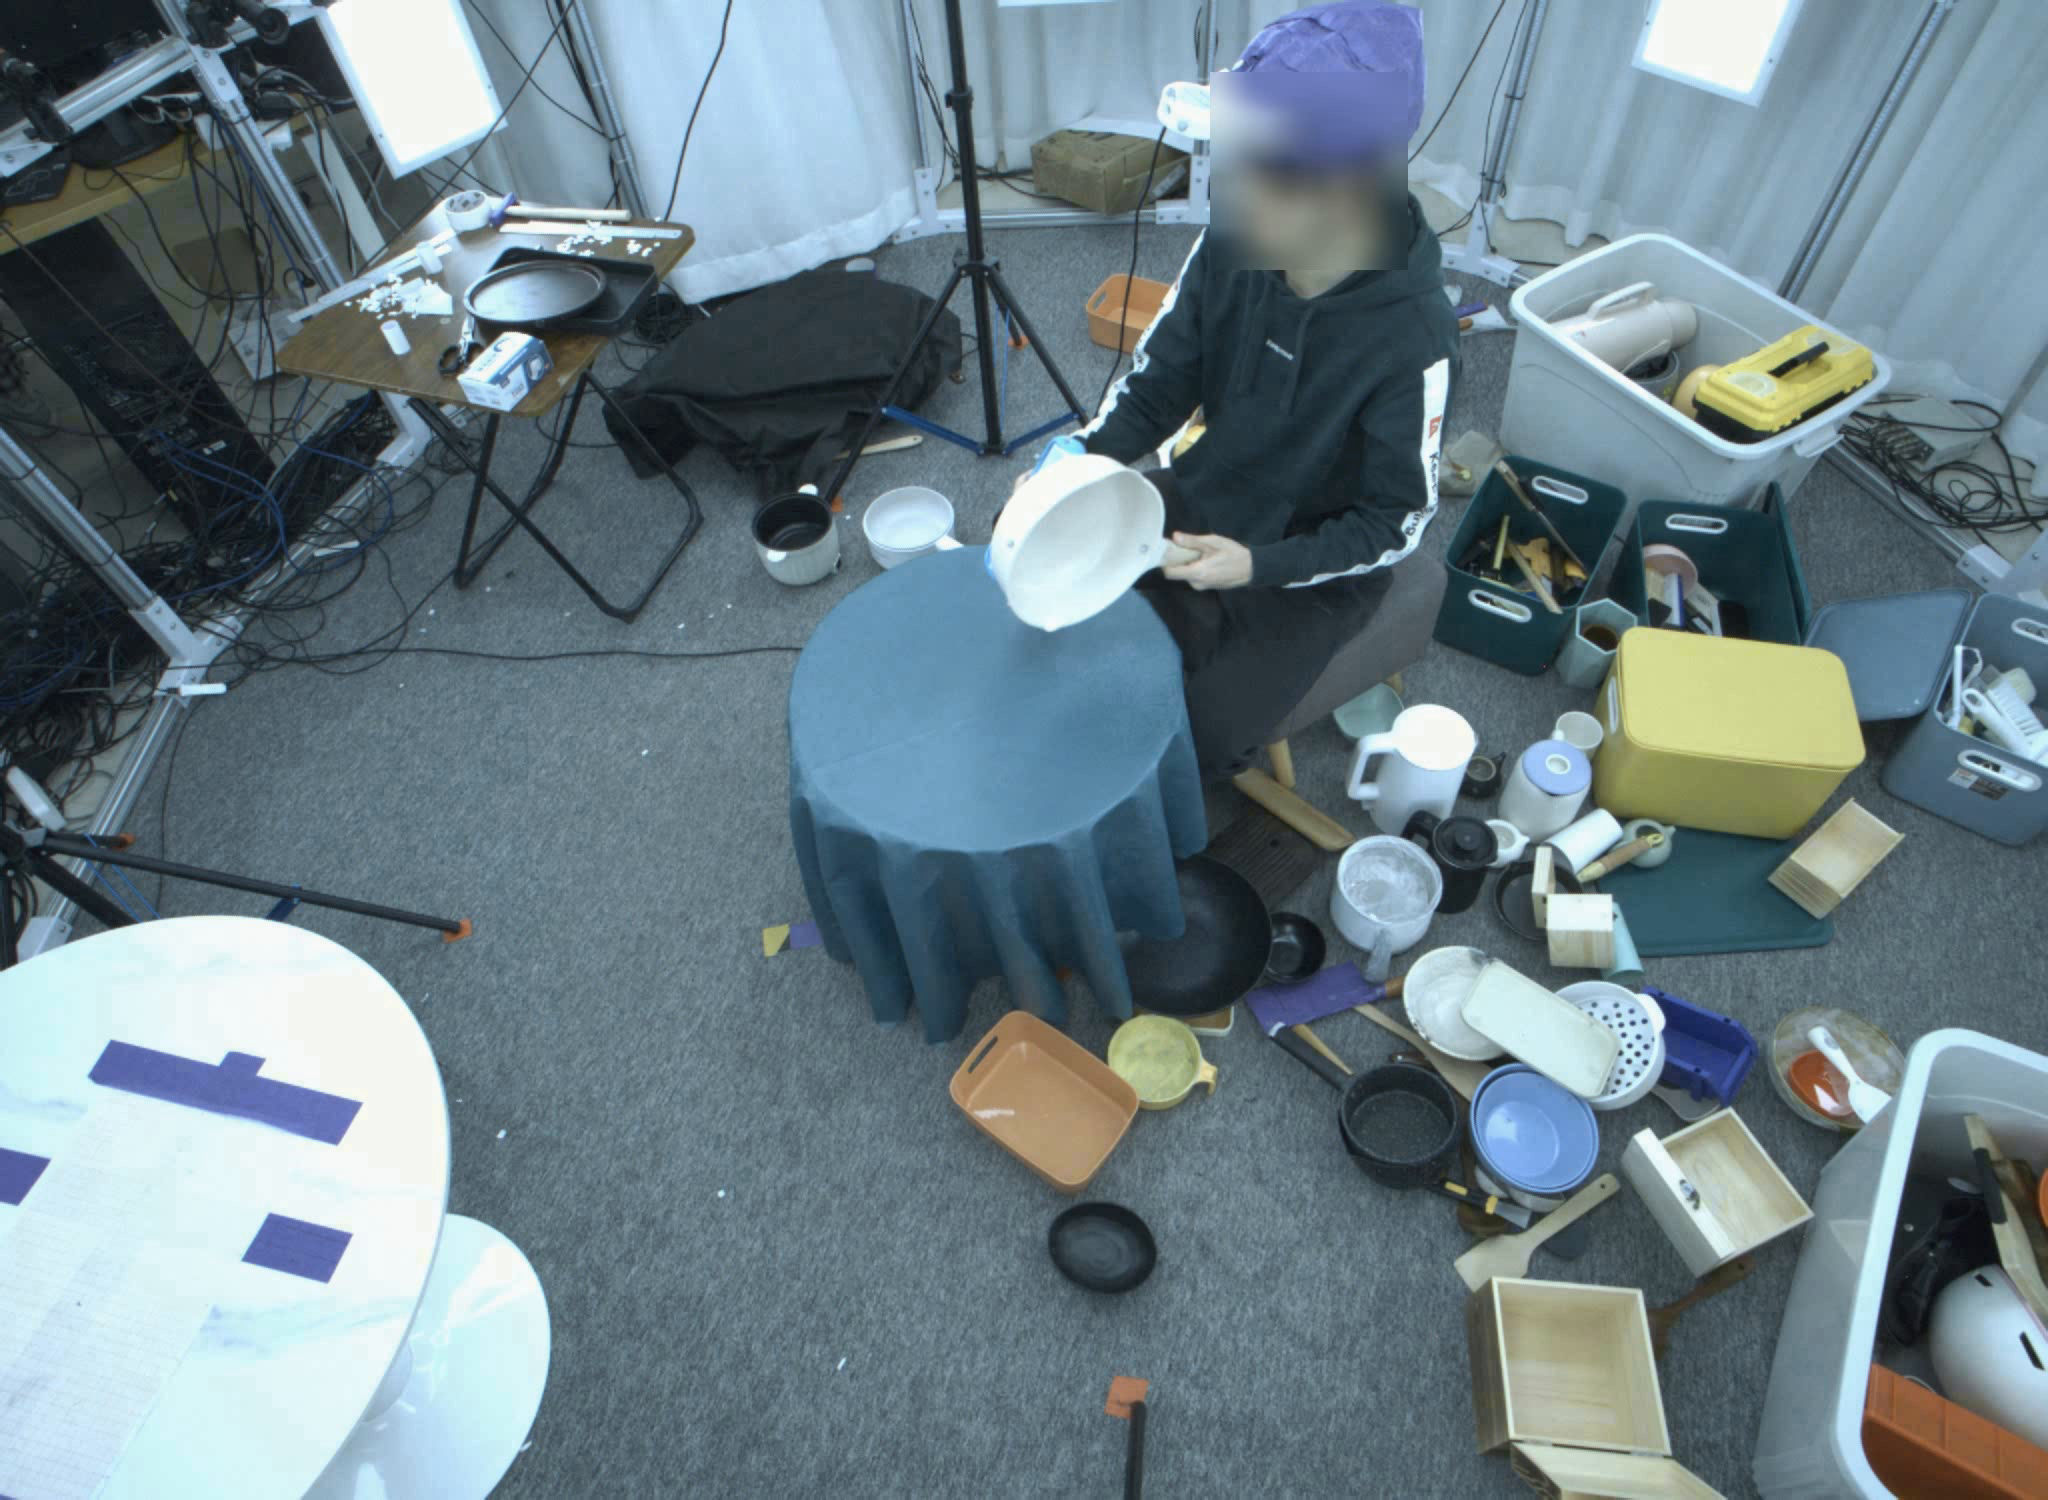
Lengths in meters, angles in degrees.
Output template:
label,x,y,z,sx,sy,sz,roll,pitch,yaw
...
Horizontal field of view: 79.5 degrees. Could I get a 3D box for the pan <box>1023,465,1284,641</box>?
label,x,y,z,sx,sy,sz,roll,pitch,yaw
pan,0.185,-0.277,1.707,0.443,0.263,0.100,-6,45,-38

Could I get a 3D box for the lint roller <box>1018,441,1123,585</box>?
label,x,y,z,sx,sy,sz,roll,pitch,yaw
lint roller,0.070,-0.343,1.737,0.068,0.228,0.180,30,22,-4
